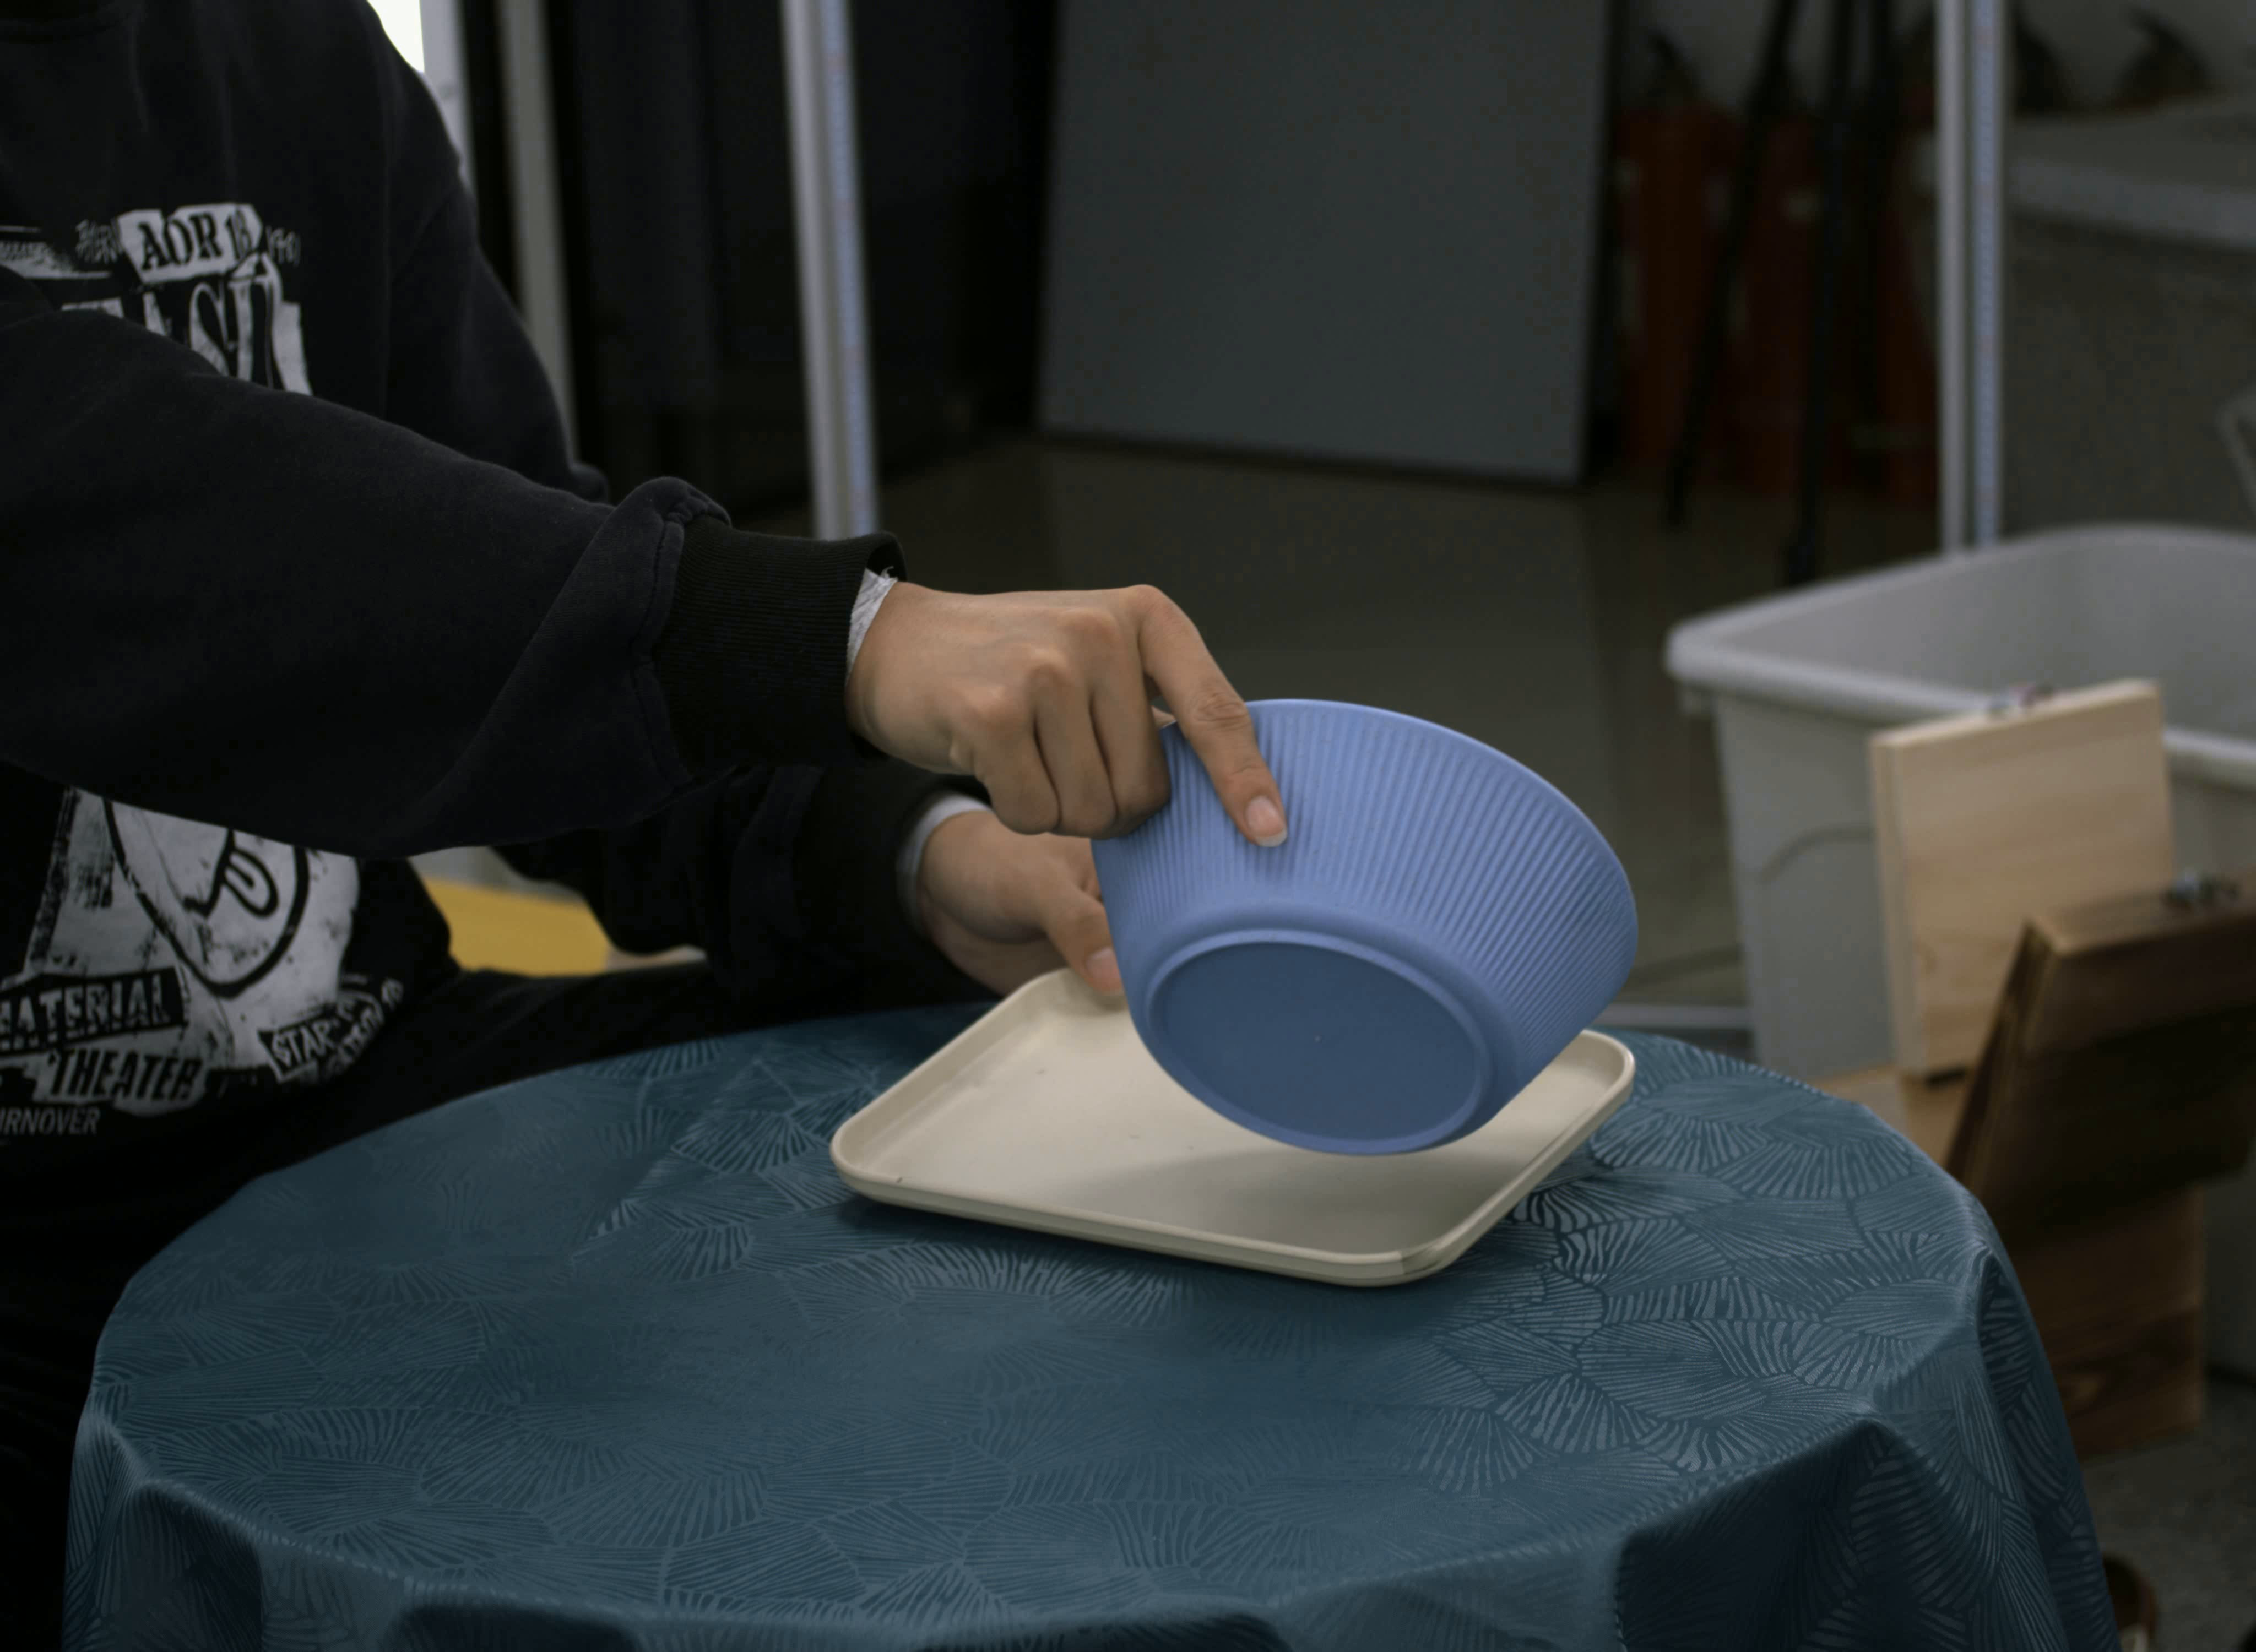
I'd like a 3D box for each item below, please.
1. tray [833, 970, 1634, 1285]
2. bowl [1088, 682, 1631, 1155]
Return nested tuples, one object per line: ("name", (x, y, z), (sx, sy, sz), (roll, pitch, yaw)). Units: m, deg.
("tray", (0.035, 0.098, 1.766), (0.241, 0.017, 0.169), (7, 26, 34))
("bowl", (0.064, 0.040, 1.655), (0.176, 0.176, 0.070), (2, 48, 21))
